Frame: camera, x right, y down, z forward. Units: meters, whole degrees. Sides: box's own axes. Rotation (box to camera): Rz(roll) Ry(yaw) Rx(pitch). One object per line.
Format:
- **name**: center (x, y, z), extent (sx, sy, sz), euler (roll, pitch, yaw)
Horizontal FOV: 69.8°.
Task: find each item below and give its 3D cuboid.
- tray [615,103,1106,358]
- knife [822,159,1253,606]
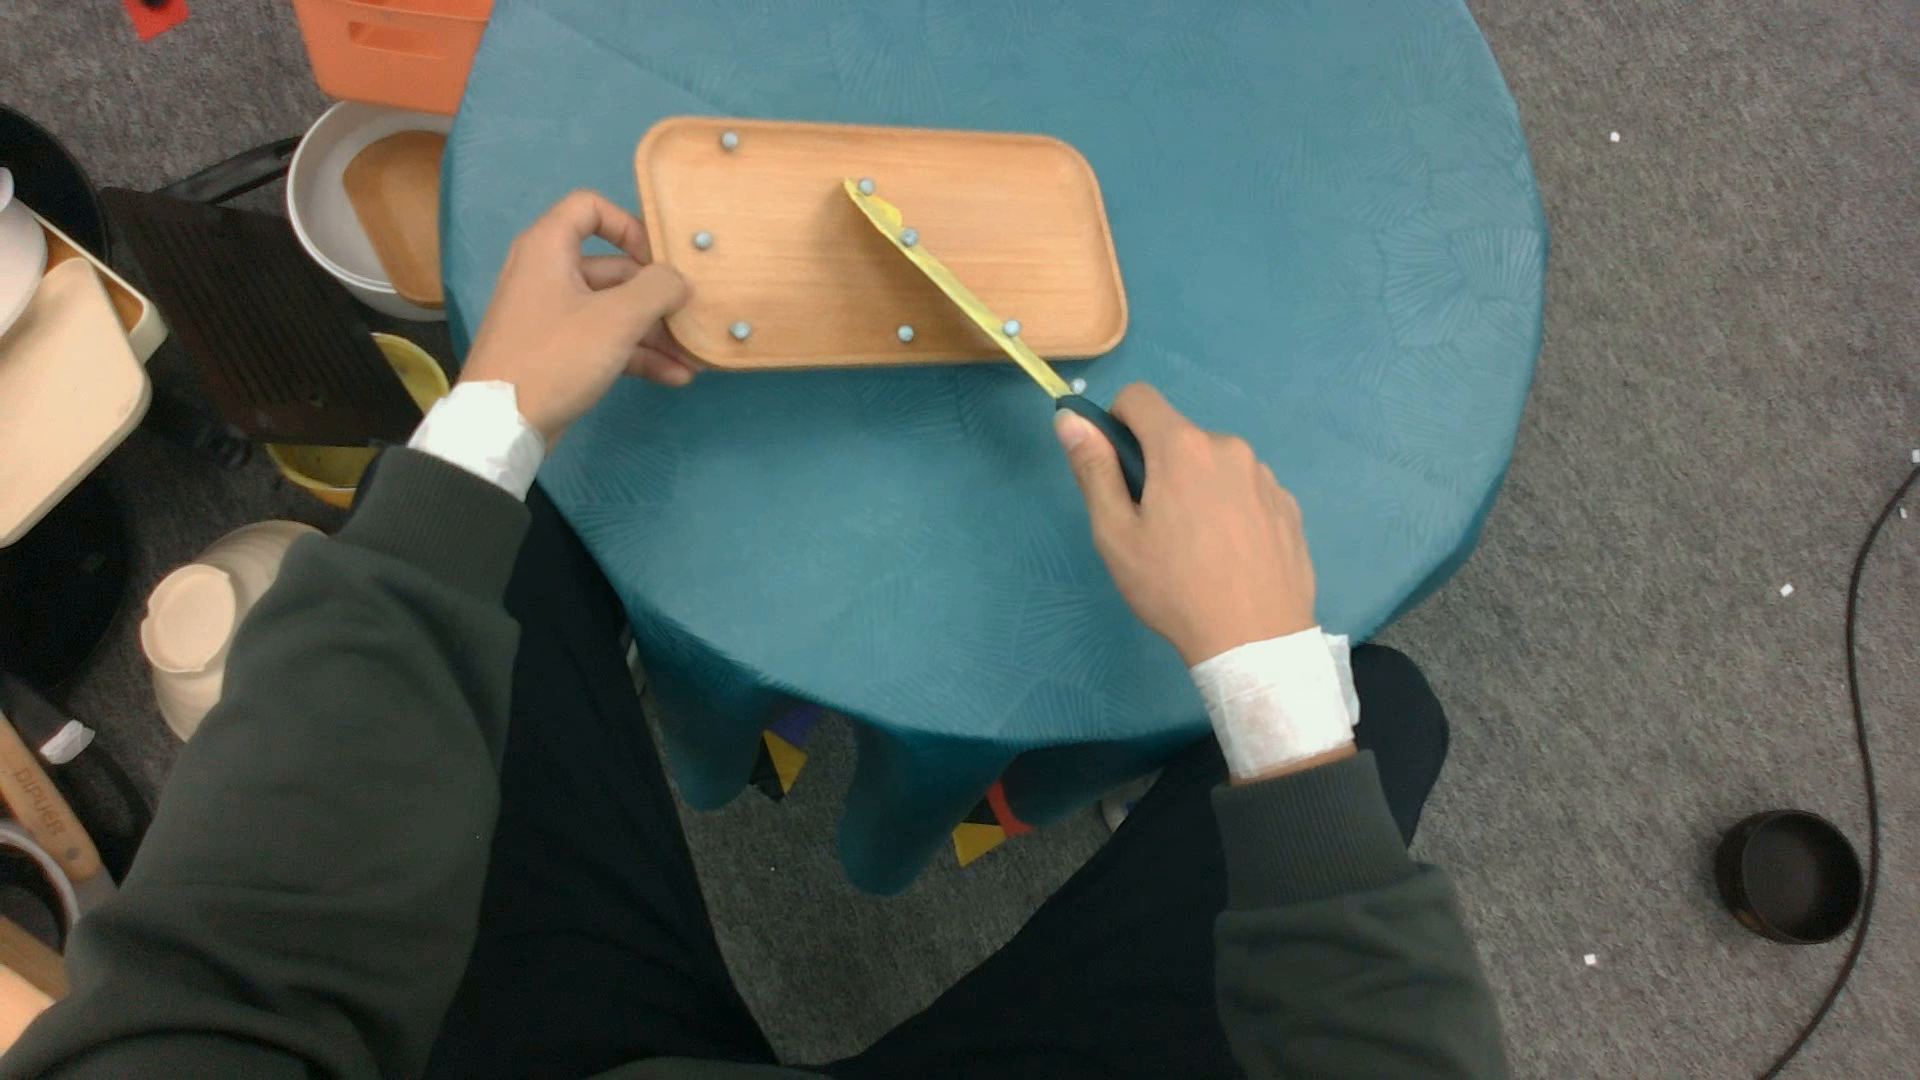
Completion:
- **tray**: center (-0.043, -0.155, 0.690), extent (0.251, 0.023, 0.131), euler (-6, 79, -28)
- **knife**: center (0.032, -0.080, 0.651), extent (0.027, 0.081, 0.289), euler (-45, 83, 15)
